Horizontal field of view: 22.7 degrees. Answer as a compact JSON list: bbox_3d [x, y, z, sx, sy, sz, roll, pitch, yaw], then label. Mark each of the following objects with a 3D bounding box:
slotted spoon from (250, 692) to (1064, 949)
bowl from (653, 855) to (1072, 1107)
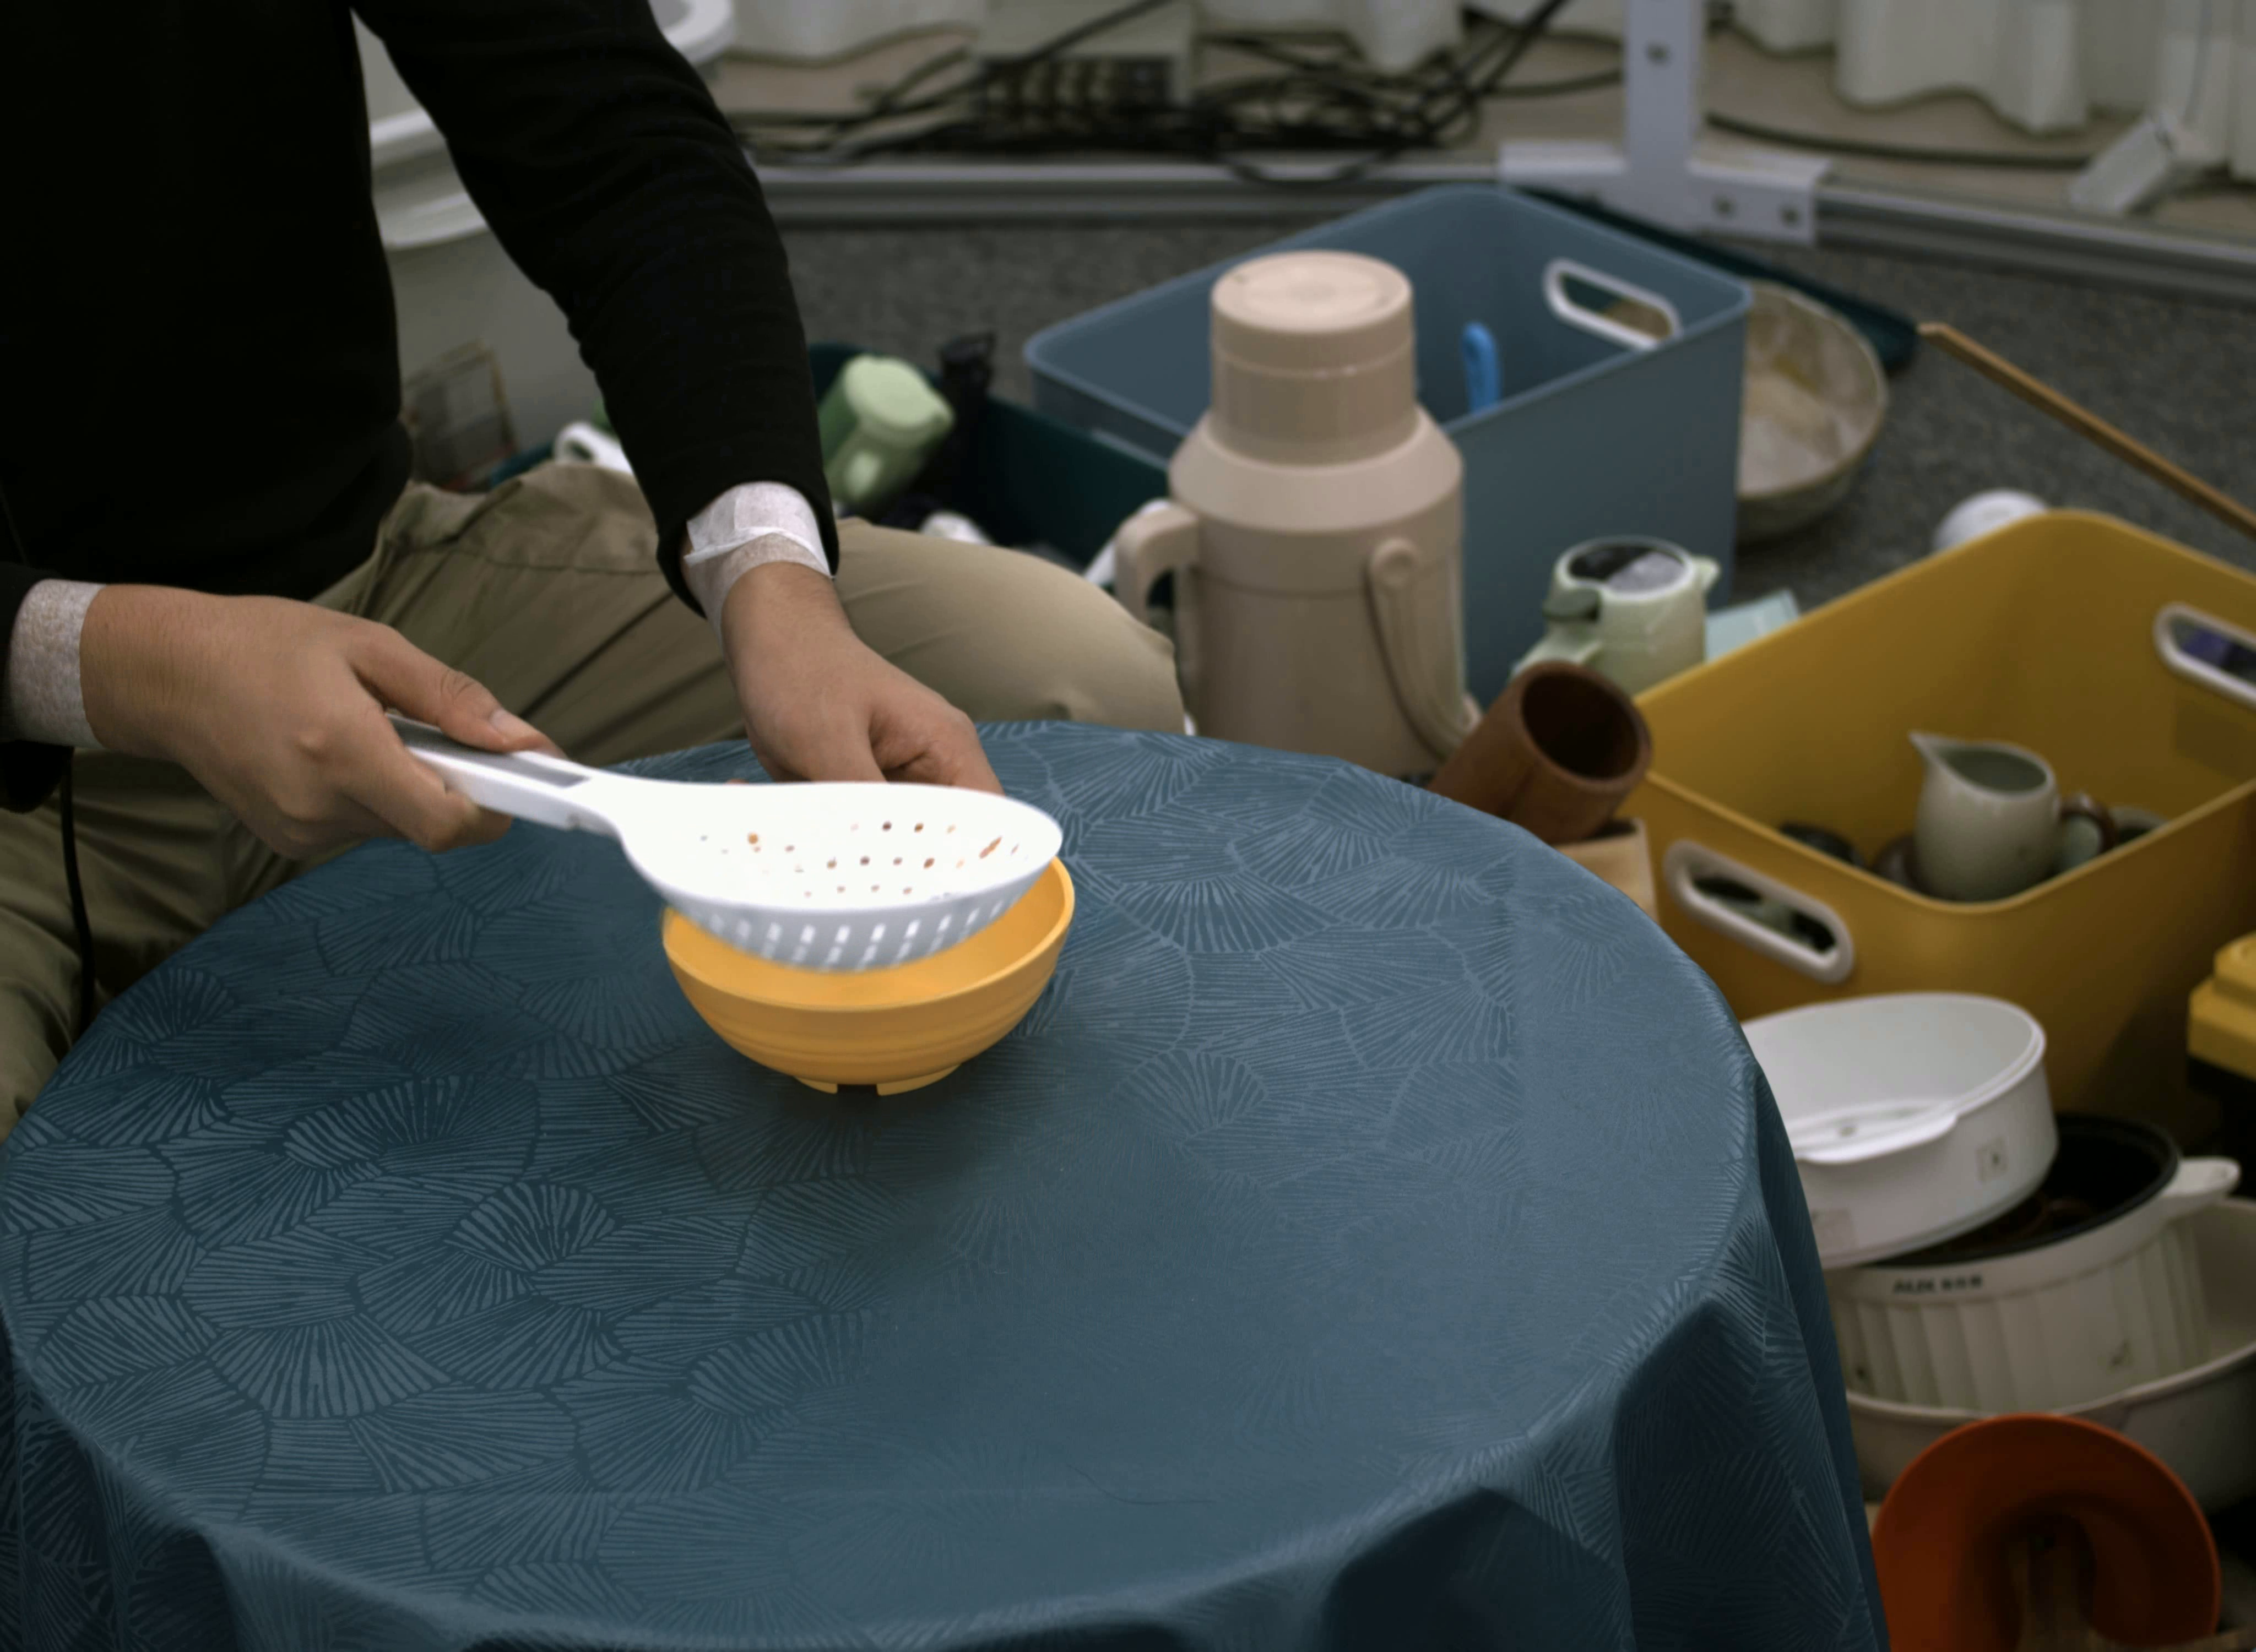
[{"bbox_3d":[-0.170,-0.011,1.869,0.348,0.045,0.137,17,22,37],"label":"slotted spoon"},{"bbox_3d":[-0.090,0.056,1.943,0.144,0.059,0.147,-2,24,1],"label":"bowl"}]
